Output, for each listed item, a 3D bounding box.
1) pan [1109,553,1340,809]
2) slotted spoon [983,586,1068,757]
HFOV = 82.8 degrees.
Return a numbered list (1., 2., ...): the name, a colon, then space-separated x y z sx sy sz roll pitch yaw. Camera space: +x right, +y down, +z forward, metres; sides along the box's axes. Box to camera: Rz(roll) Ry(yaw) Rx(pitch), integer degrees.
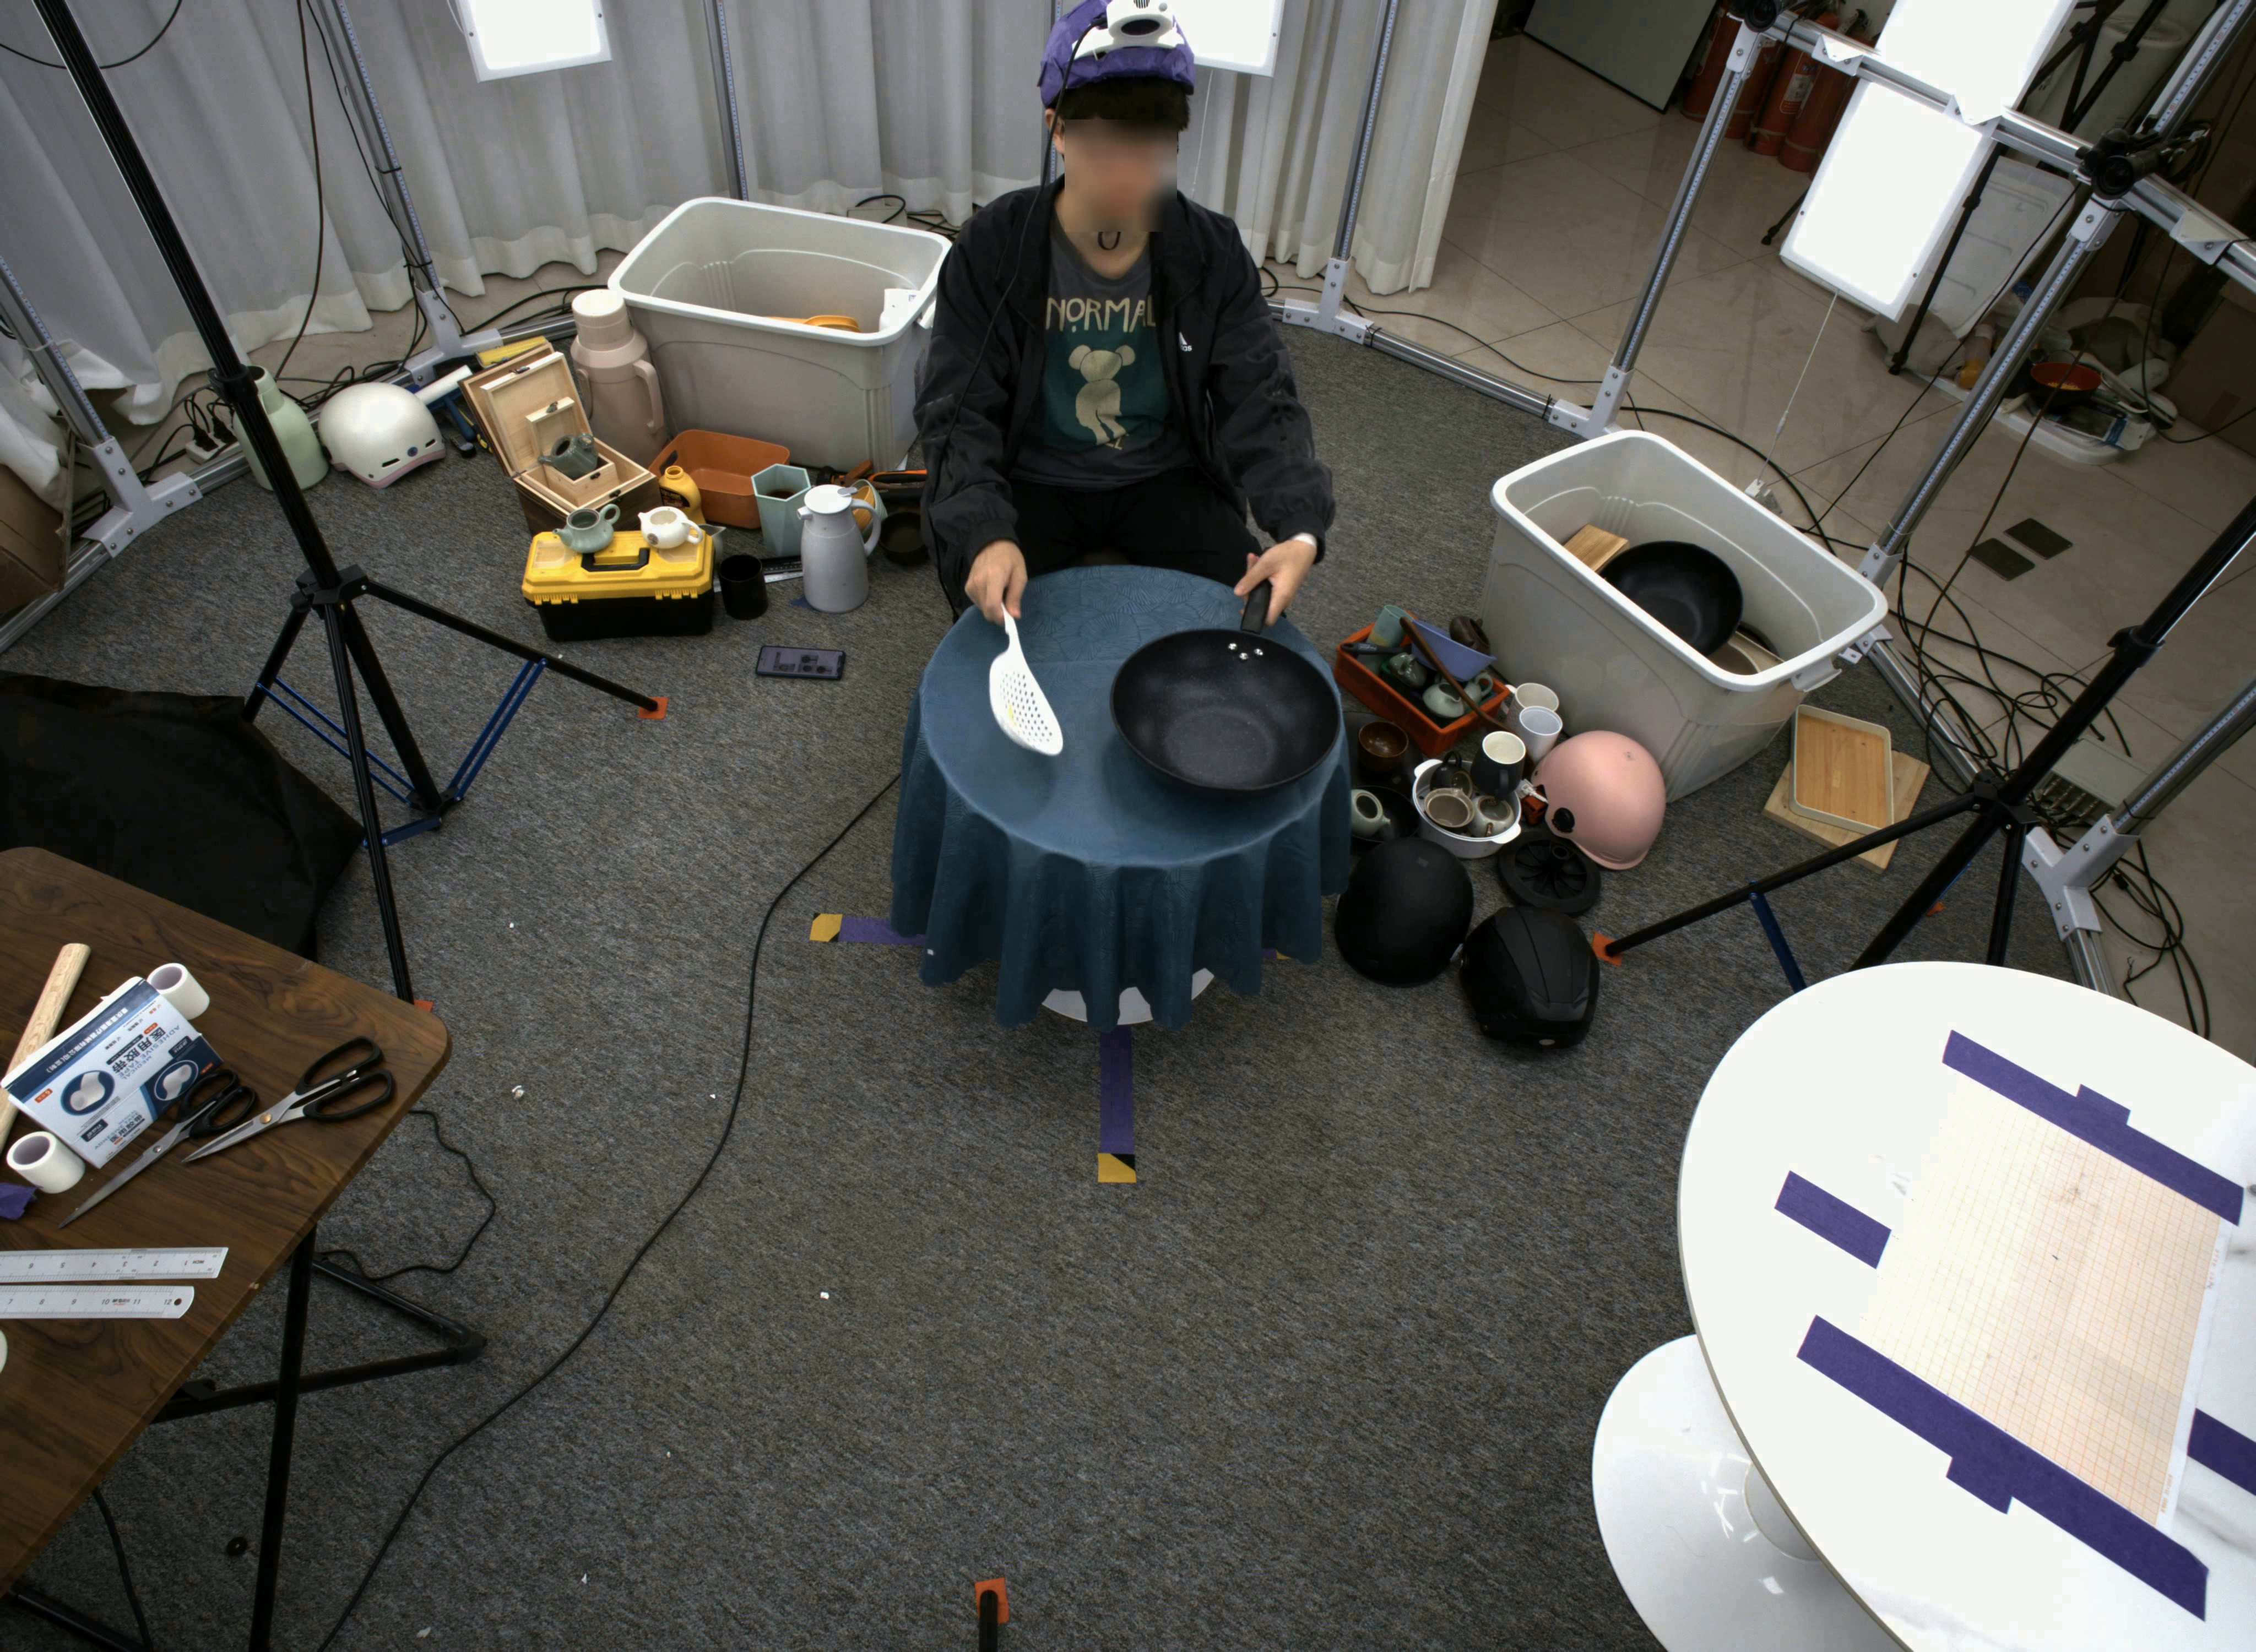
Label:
1. pan: 0.149 -0.197 1.779 0.311 0.109 0.487 14 49 7
2. slotted spoon: -0.160 -0.223 1.760 0.134 0.050 0.357 31 35 -38
